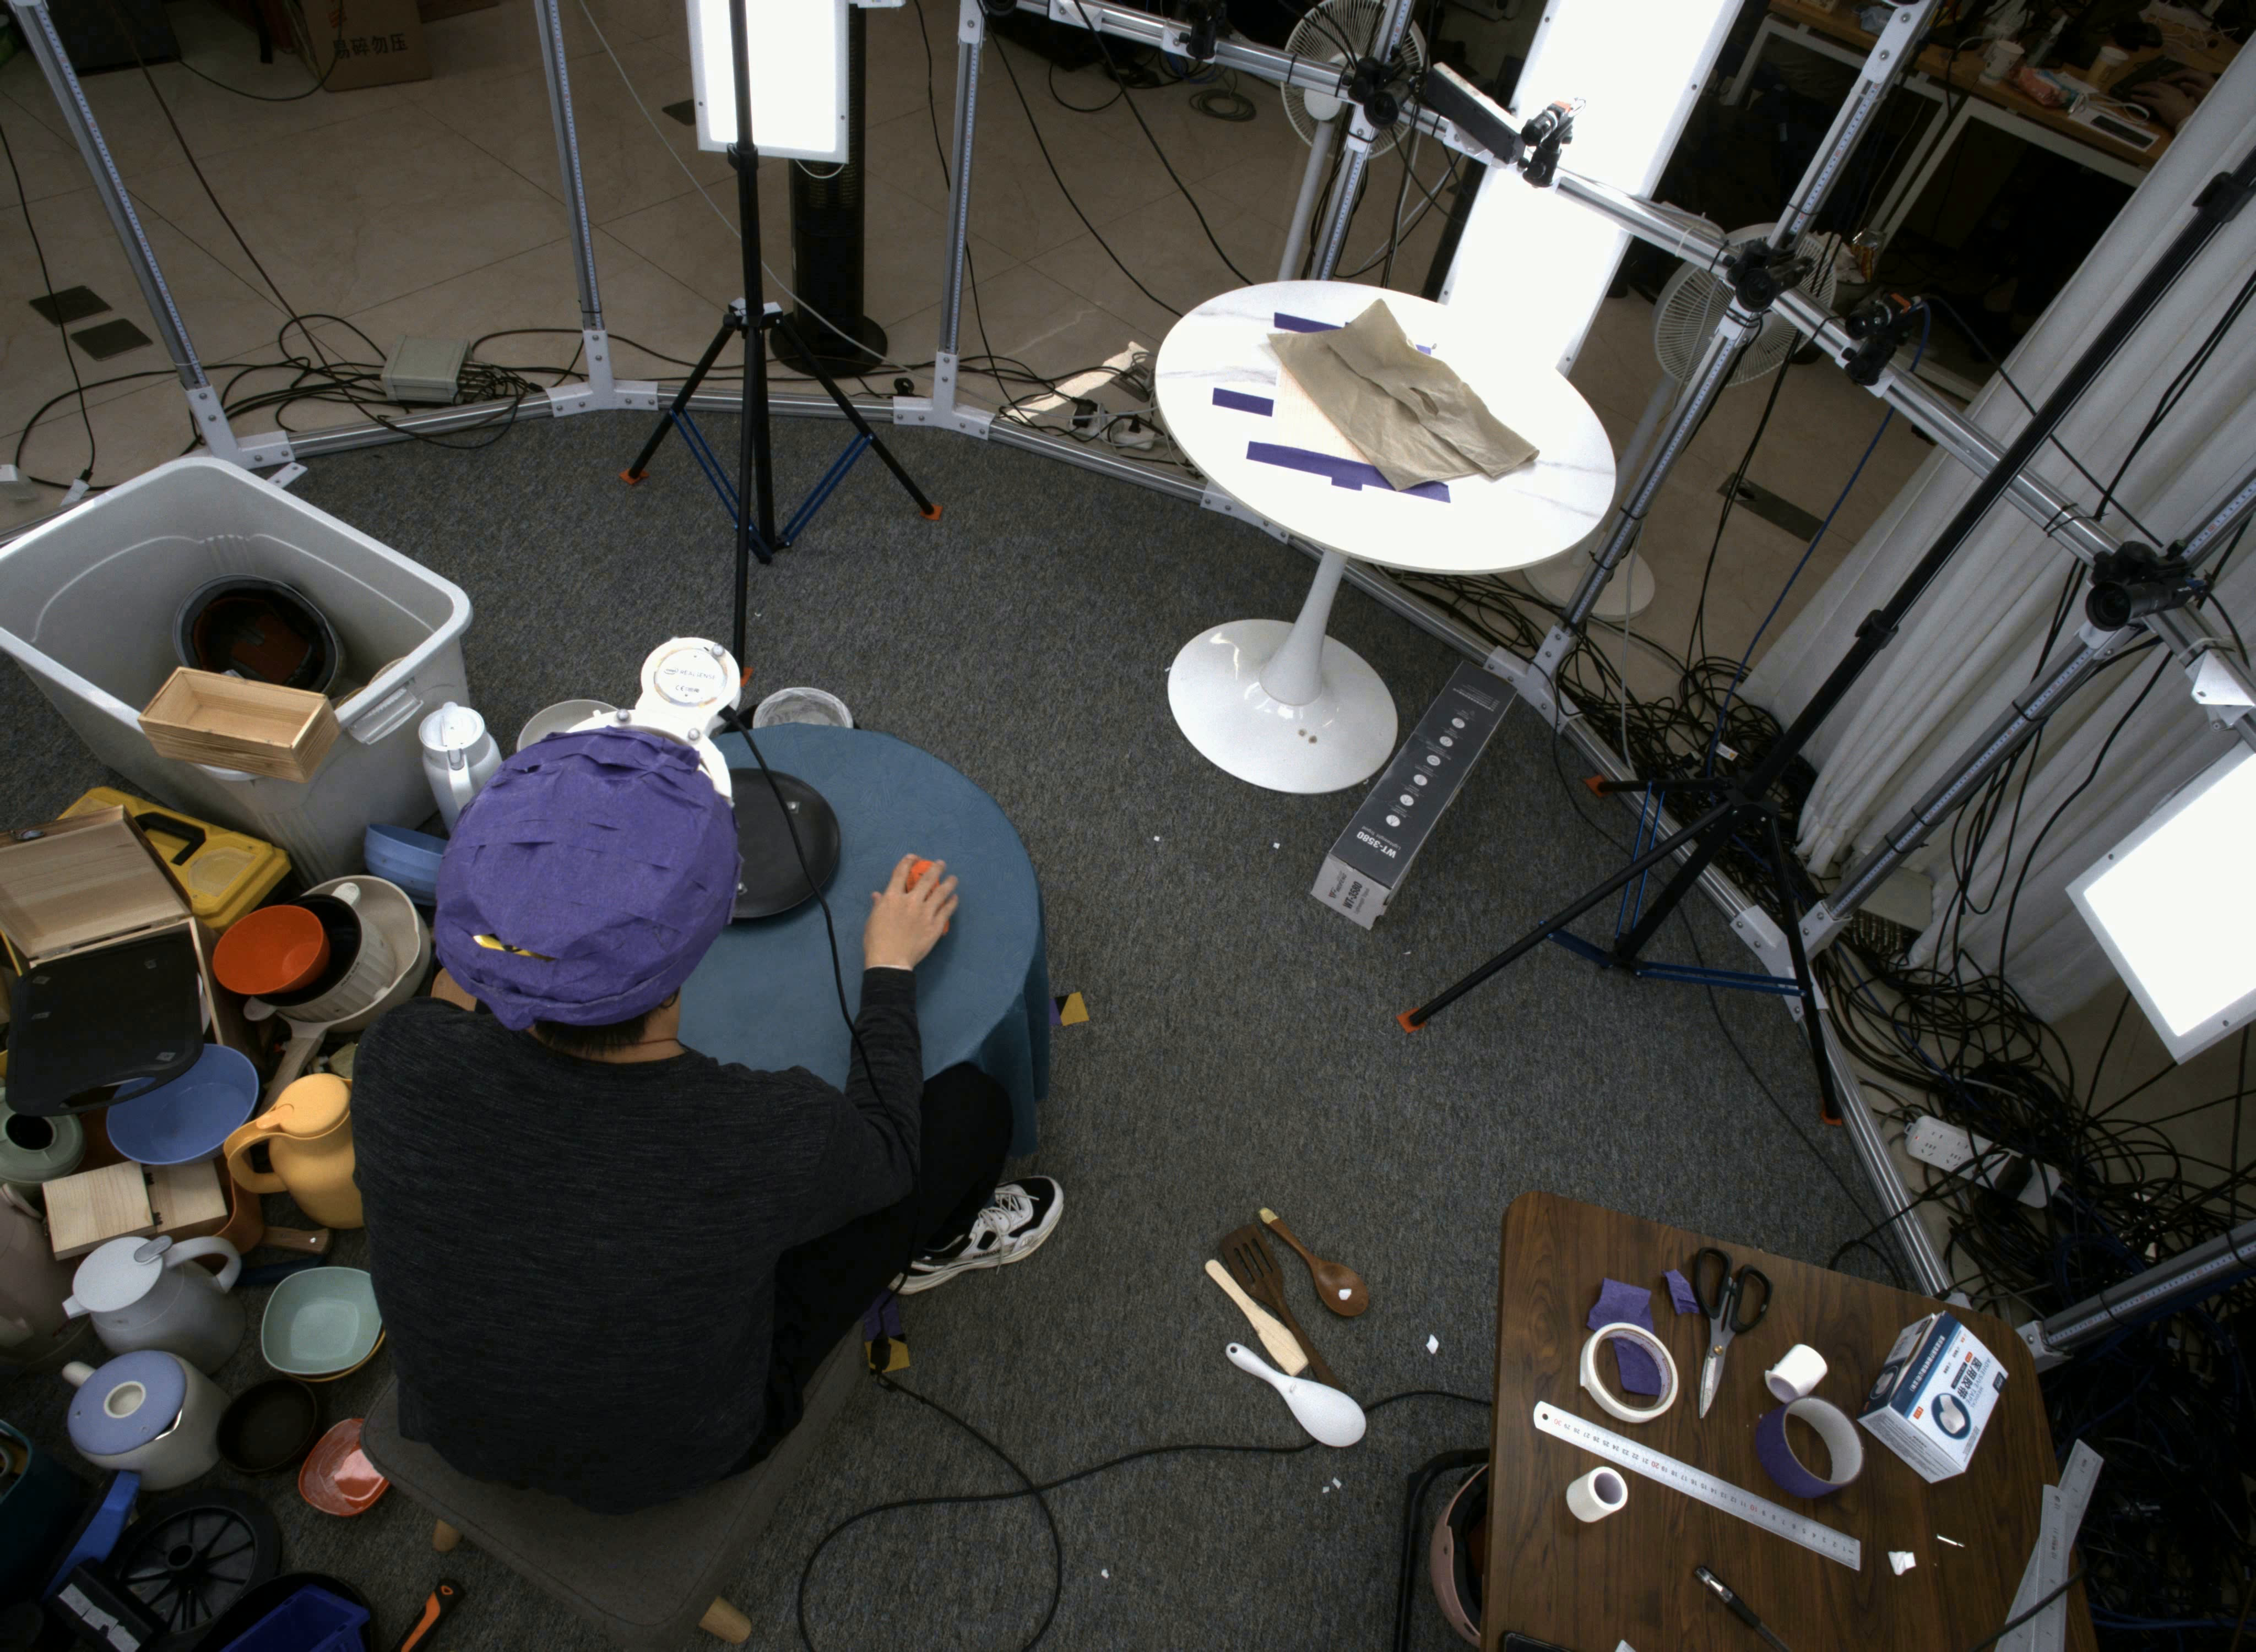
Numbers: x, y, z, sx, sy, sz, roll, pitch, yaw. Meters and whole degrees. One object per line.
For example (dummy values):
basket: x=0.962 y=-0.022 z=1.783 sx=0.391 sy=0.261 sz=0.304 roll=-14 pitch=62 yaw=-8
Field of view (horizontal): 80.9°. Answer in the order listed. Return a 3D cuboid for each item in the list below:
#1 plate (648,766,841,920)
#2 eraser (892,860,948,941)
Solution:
plate: x=-0.495 y=0.022 z=1.668 sx=0.244 sy=0.024 sz=0.240 roll=8 pitch=53 yaw=-9
eraser: x=-0.268 y=0.093 z=1.675 sx=0.059 sy=0.023 sz=0.105 roll=-6 pitch=55 yaw=-18
